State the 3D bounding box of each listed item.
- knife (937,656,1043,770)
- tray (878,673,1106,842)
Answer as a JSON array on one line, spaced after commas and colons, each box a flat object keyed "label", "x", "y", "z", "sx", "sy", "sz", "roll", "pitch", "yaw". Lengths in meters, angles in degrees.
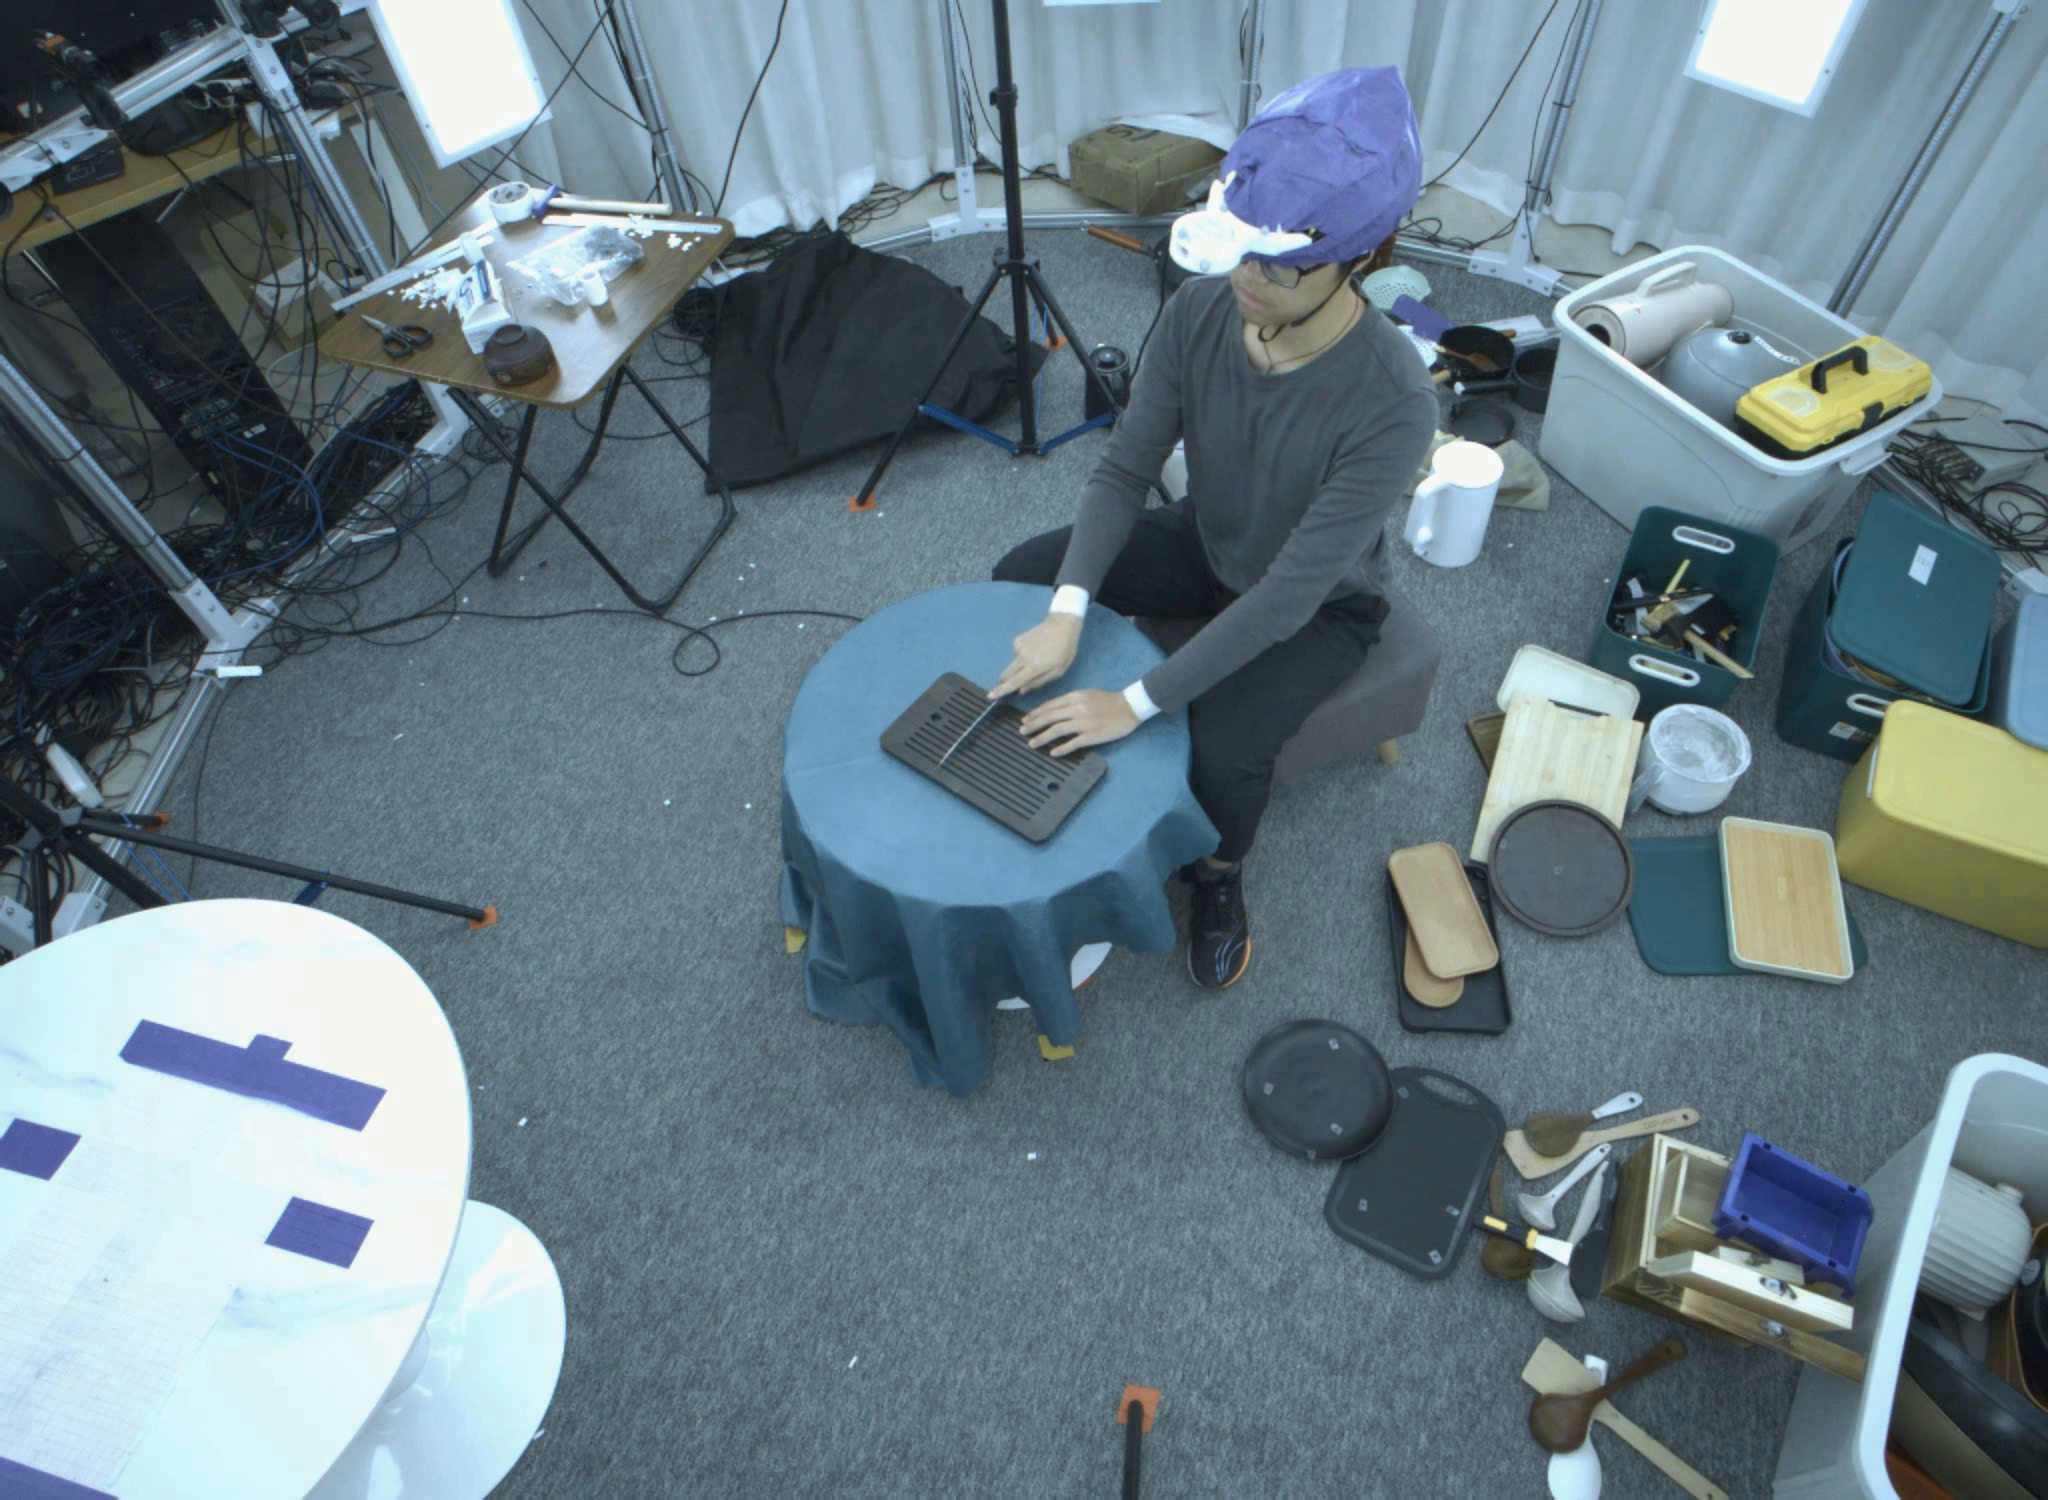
[{"label": "knife", "x": -0.050, "y": -0.057, "z": 1.796, "sx": 0.016, "sy": 0.025, "sz": 0.239, "roll": 31, "pitch": 66, "yaw": 25}, {"label": "tray", "x": -0.048, "y": 0.008, "z": 1.780, "sx": 0.301, "sy": 0.019, "sz": 0.171, "roll": 31, "pitch": 60, "yaw": 21}]
